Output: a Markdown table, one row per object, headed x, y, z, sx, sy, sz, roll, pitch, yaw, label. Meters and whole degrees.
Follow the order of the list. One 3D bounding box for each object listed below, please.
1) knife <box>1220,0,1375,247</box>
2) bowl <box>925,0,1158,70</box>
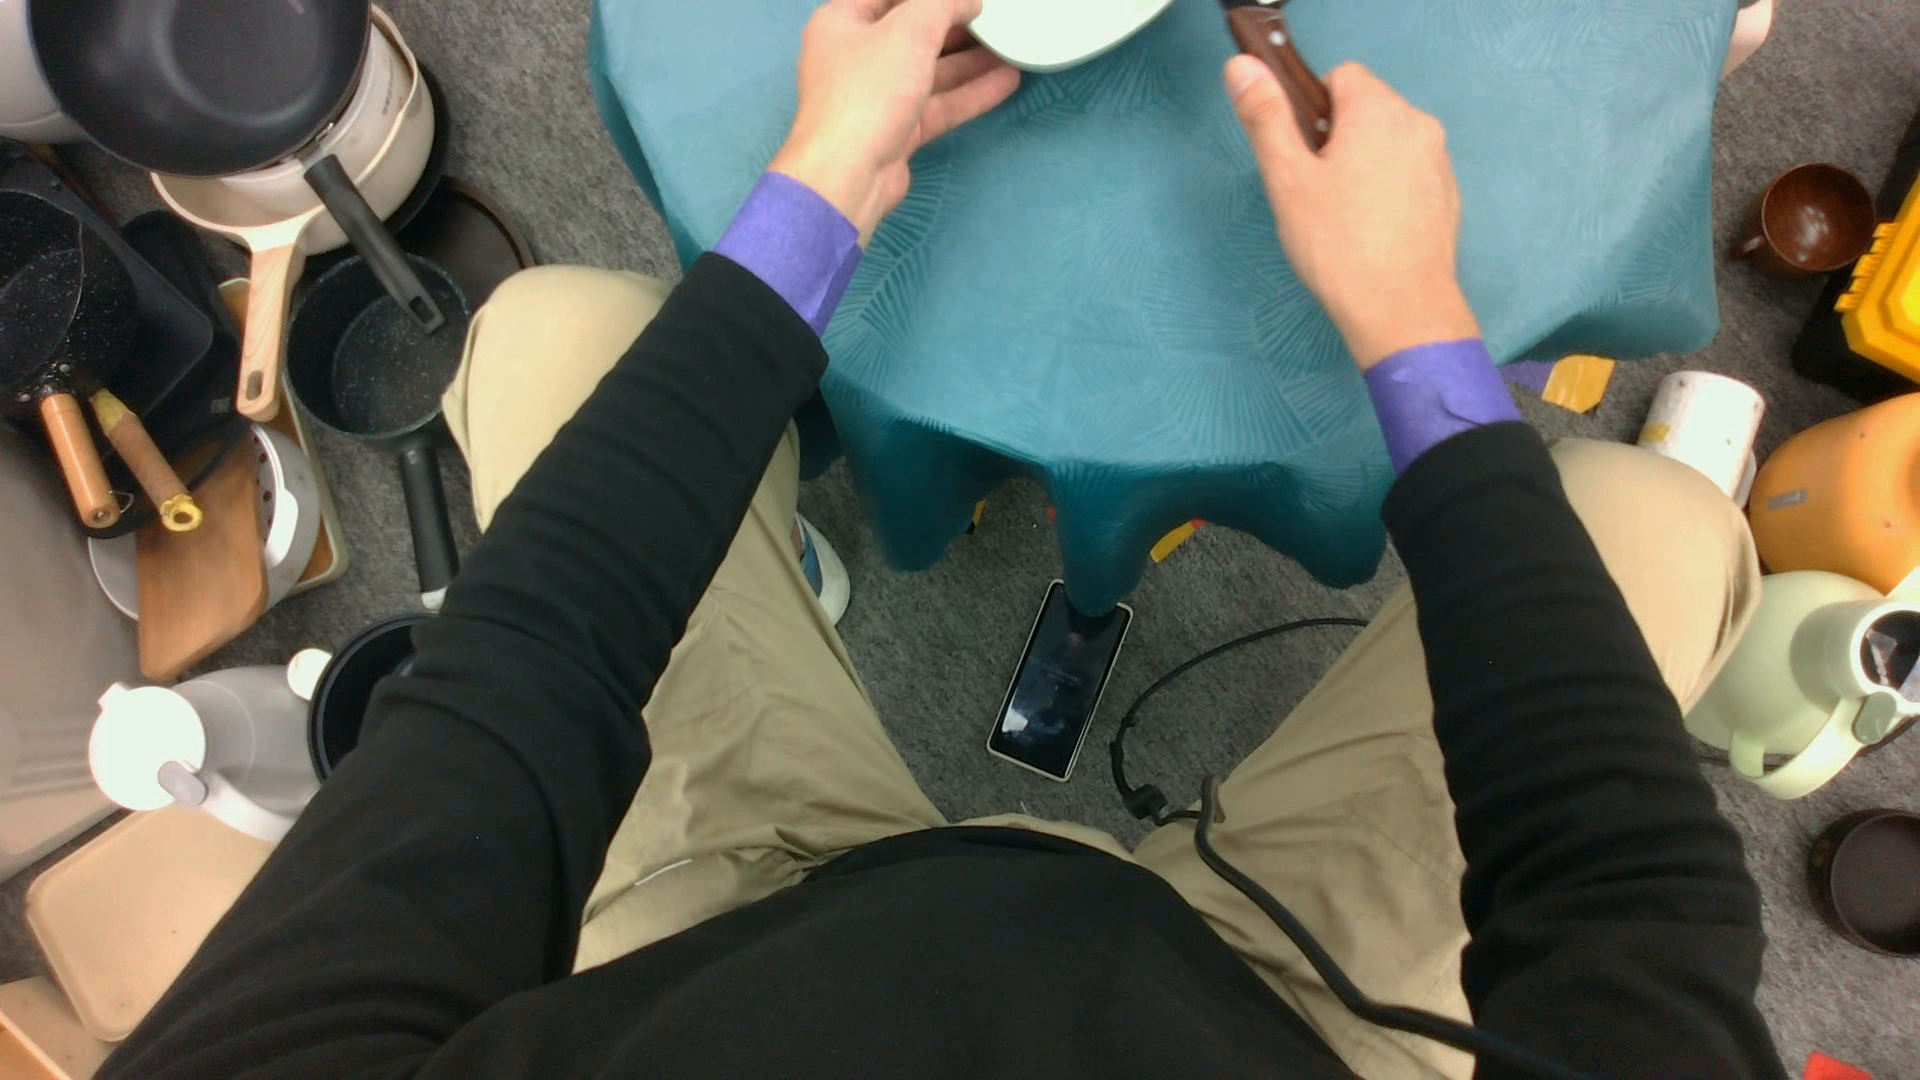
| x | y | z | sx | sy | sz | roll | pitch | yaw | label |
| --- | --- | --- | --- | --- | --- | --- | --- | --- | --- |
| 0.128 | -0.272 | 0.639 | 0.050 | 0.020 | 0.289 | -24 | 91 | -27 | knife |
| 0.041 | -0.299 | 0.695 | 0.151 | 0.058 | 0.151 | 0 | 82 | 3 | bowl |
